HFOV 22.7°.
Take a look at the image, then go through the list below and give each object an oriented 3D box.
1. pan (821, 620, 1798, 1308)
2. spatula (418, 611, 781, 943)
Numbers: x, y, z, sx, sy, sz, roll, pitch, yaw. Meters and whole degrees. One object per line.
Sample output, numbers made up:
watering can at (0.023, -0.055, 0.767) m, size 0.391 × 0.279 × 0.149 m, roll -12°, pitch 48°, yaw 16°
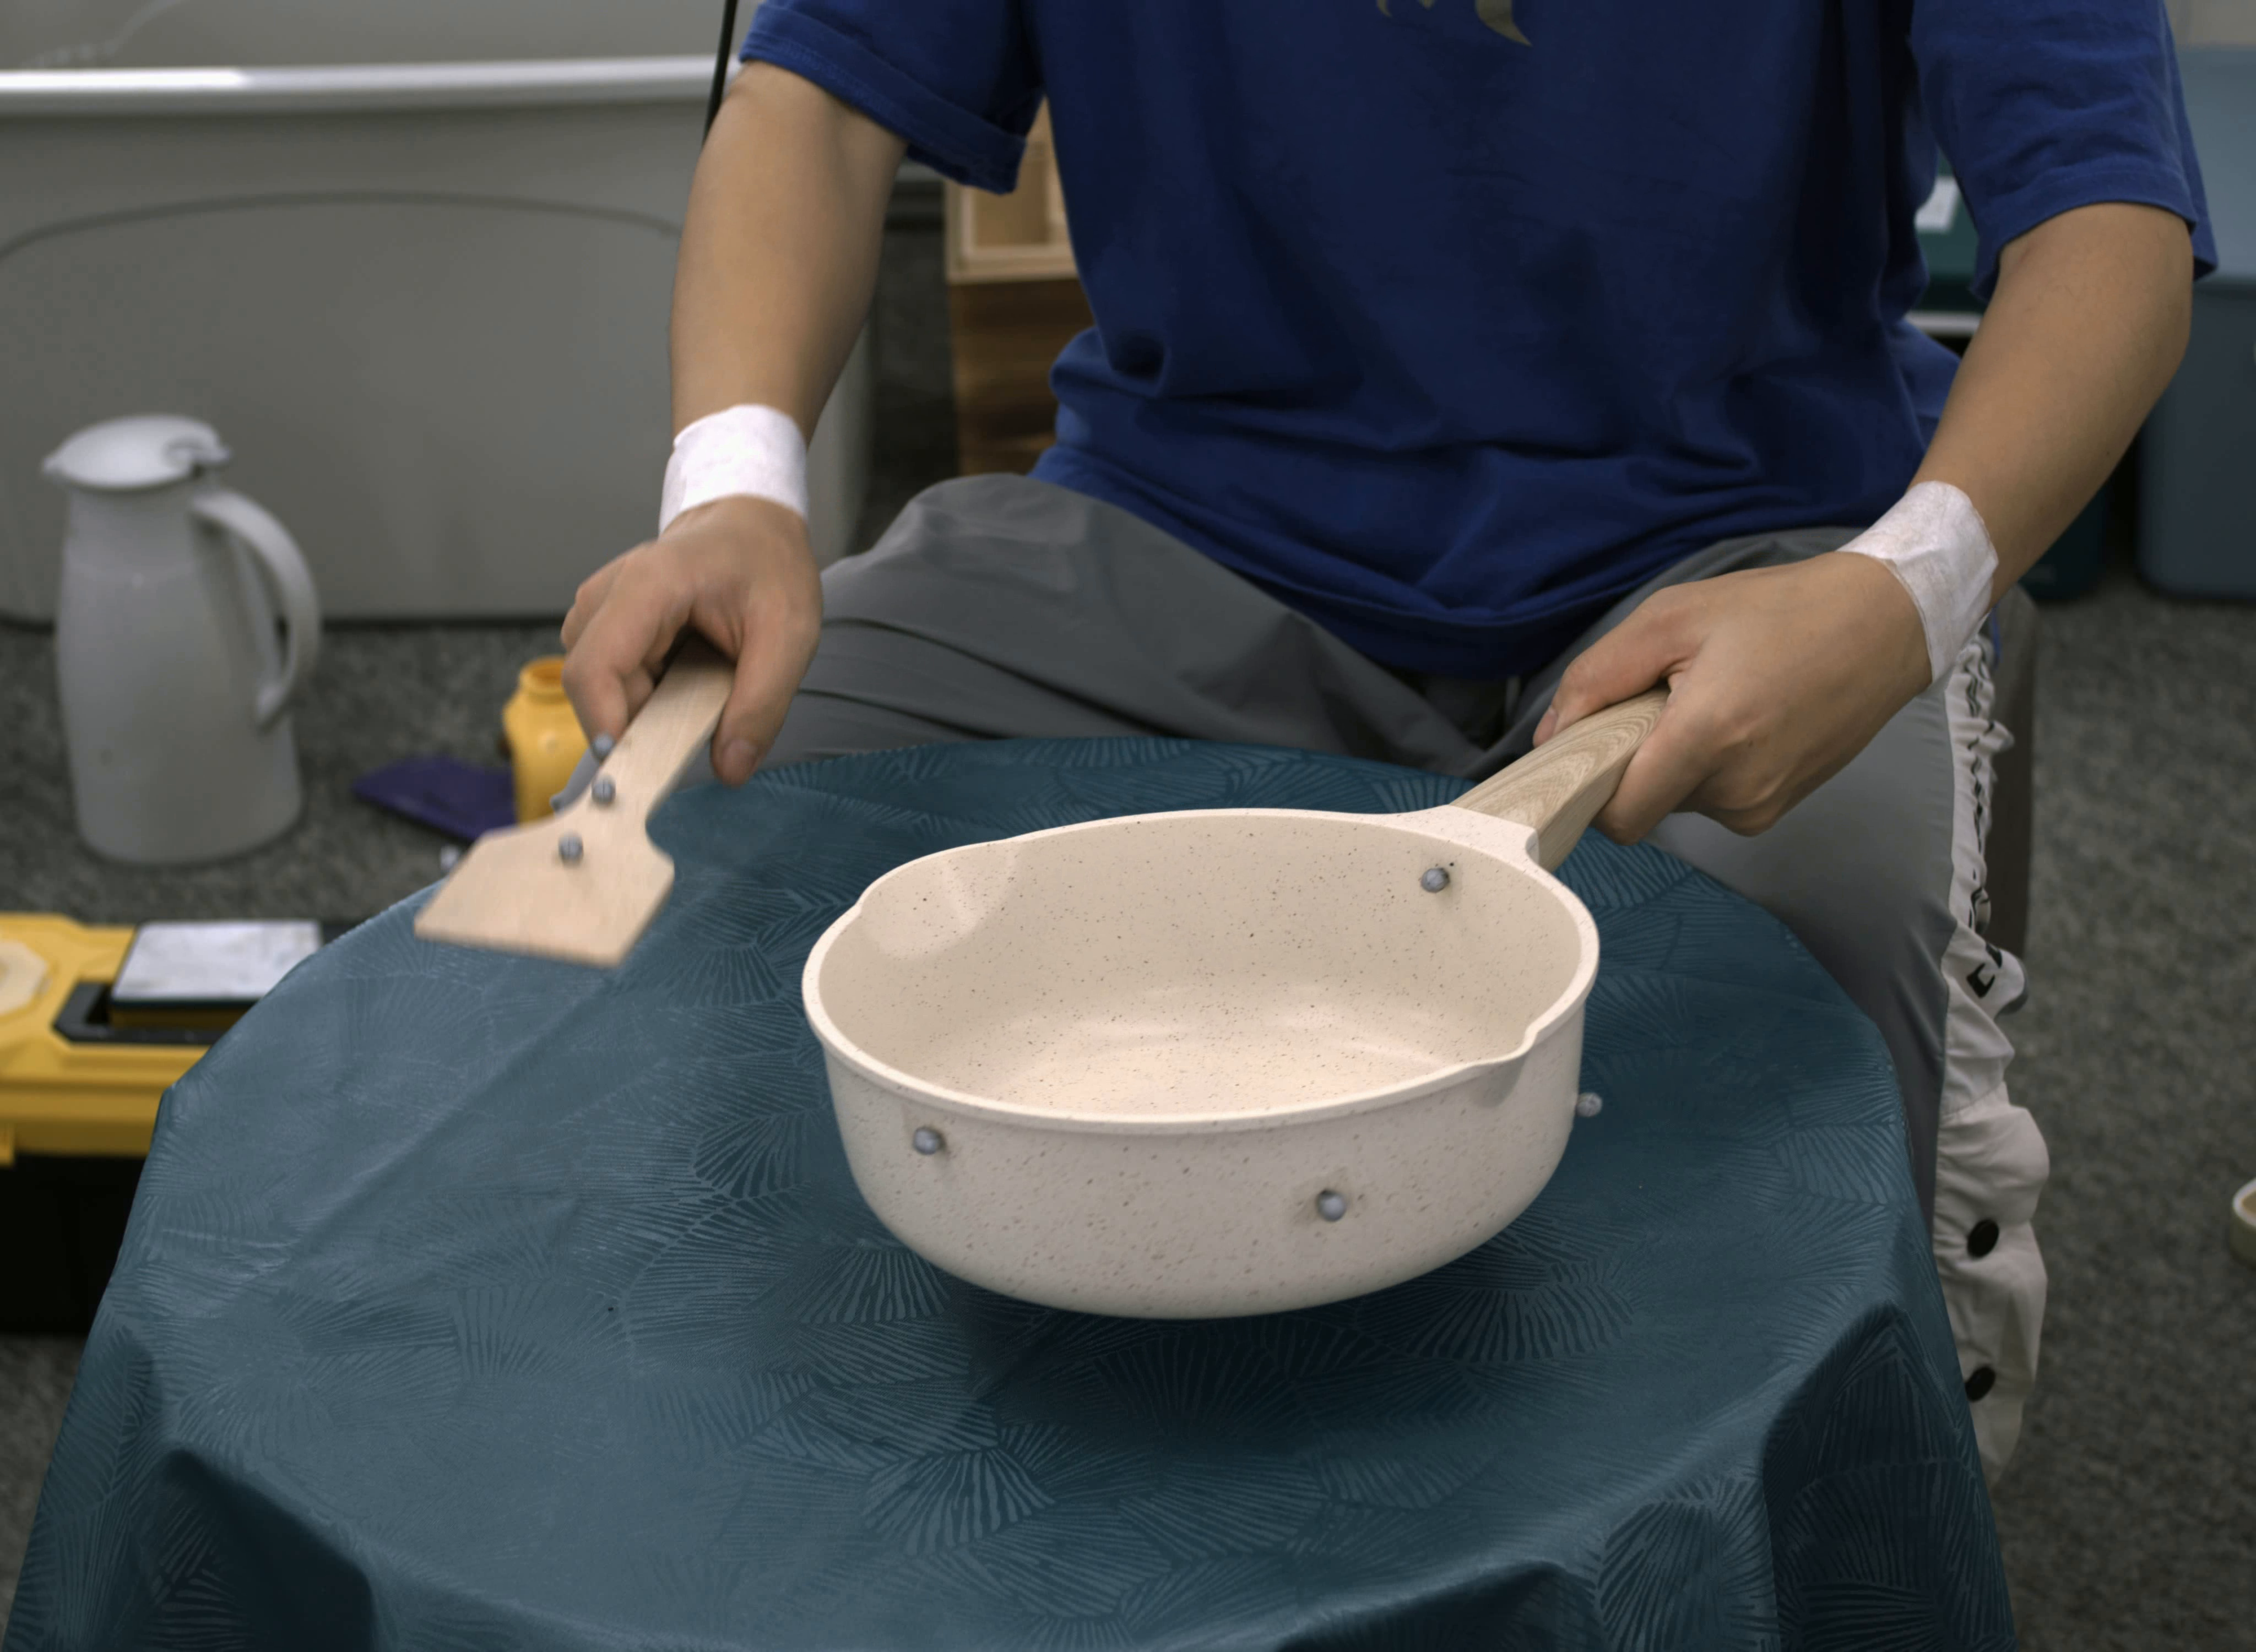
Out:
pan at (0.091, 0.041, 1.839) m, size 0.262 × 0.101 × 0.440 m, roll 12°, pitch 25°, yaw 40°
spatula at (-0.168, -0.021, 1.928) m, size 0.072 × 0.010 × 0.297 m, roll 8°, pitch 23°, yaw 9°
